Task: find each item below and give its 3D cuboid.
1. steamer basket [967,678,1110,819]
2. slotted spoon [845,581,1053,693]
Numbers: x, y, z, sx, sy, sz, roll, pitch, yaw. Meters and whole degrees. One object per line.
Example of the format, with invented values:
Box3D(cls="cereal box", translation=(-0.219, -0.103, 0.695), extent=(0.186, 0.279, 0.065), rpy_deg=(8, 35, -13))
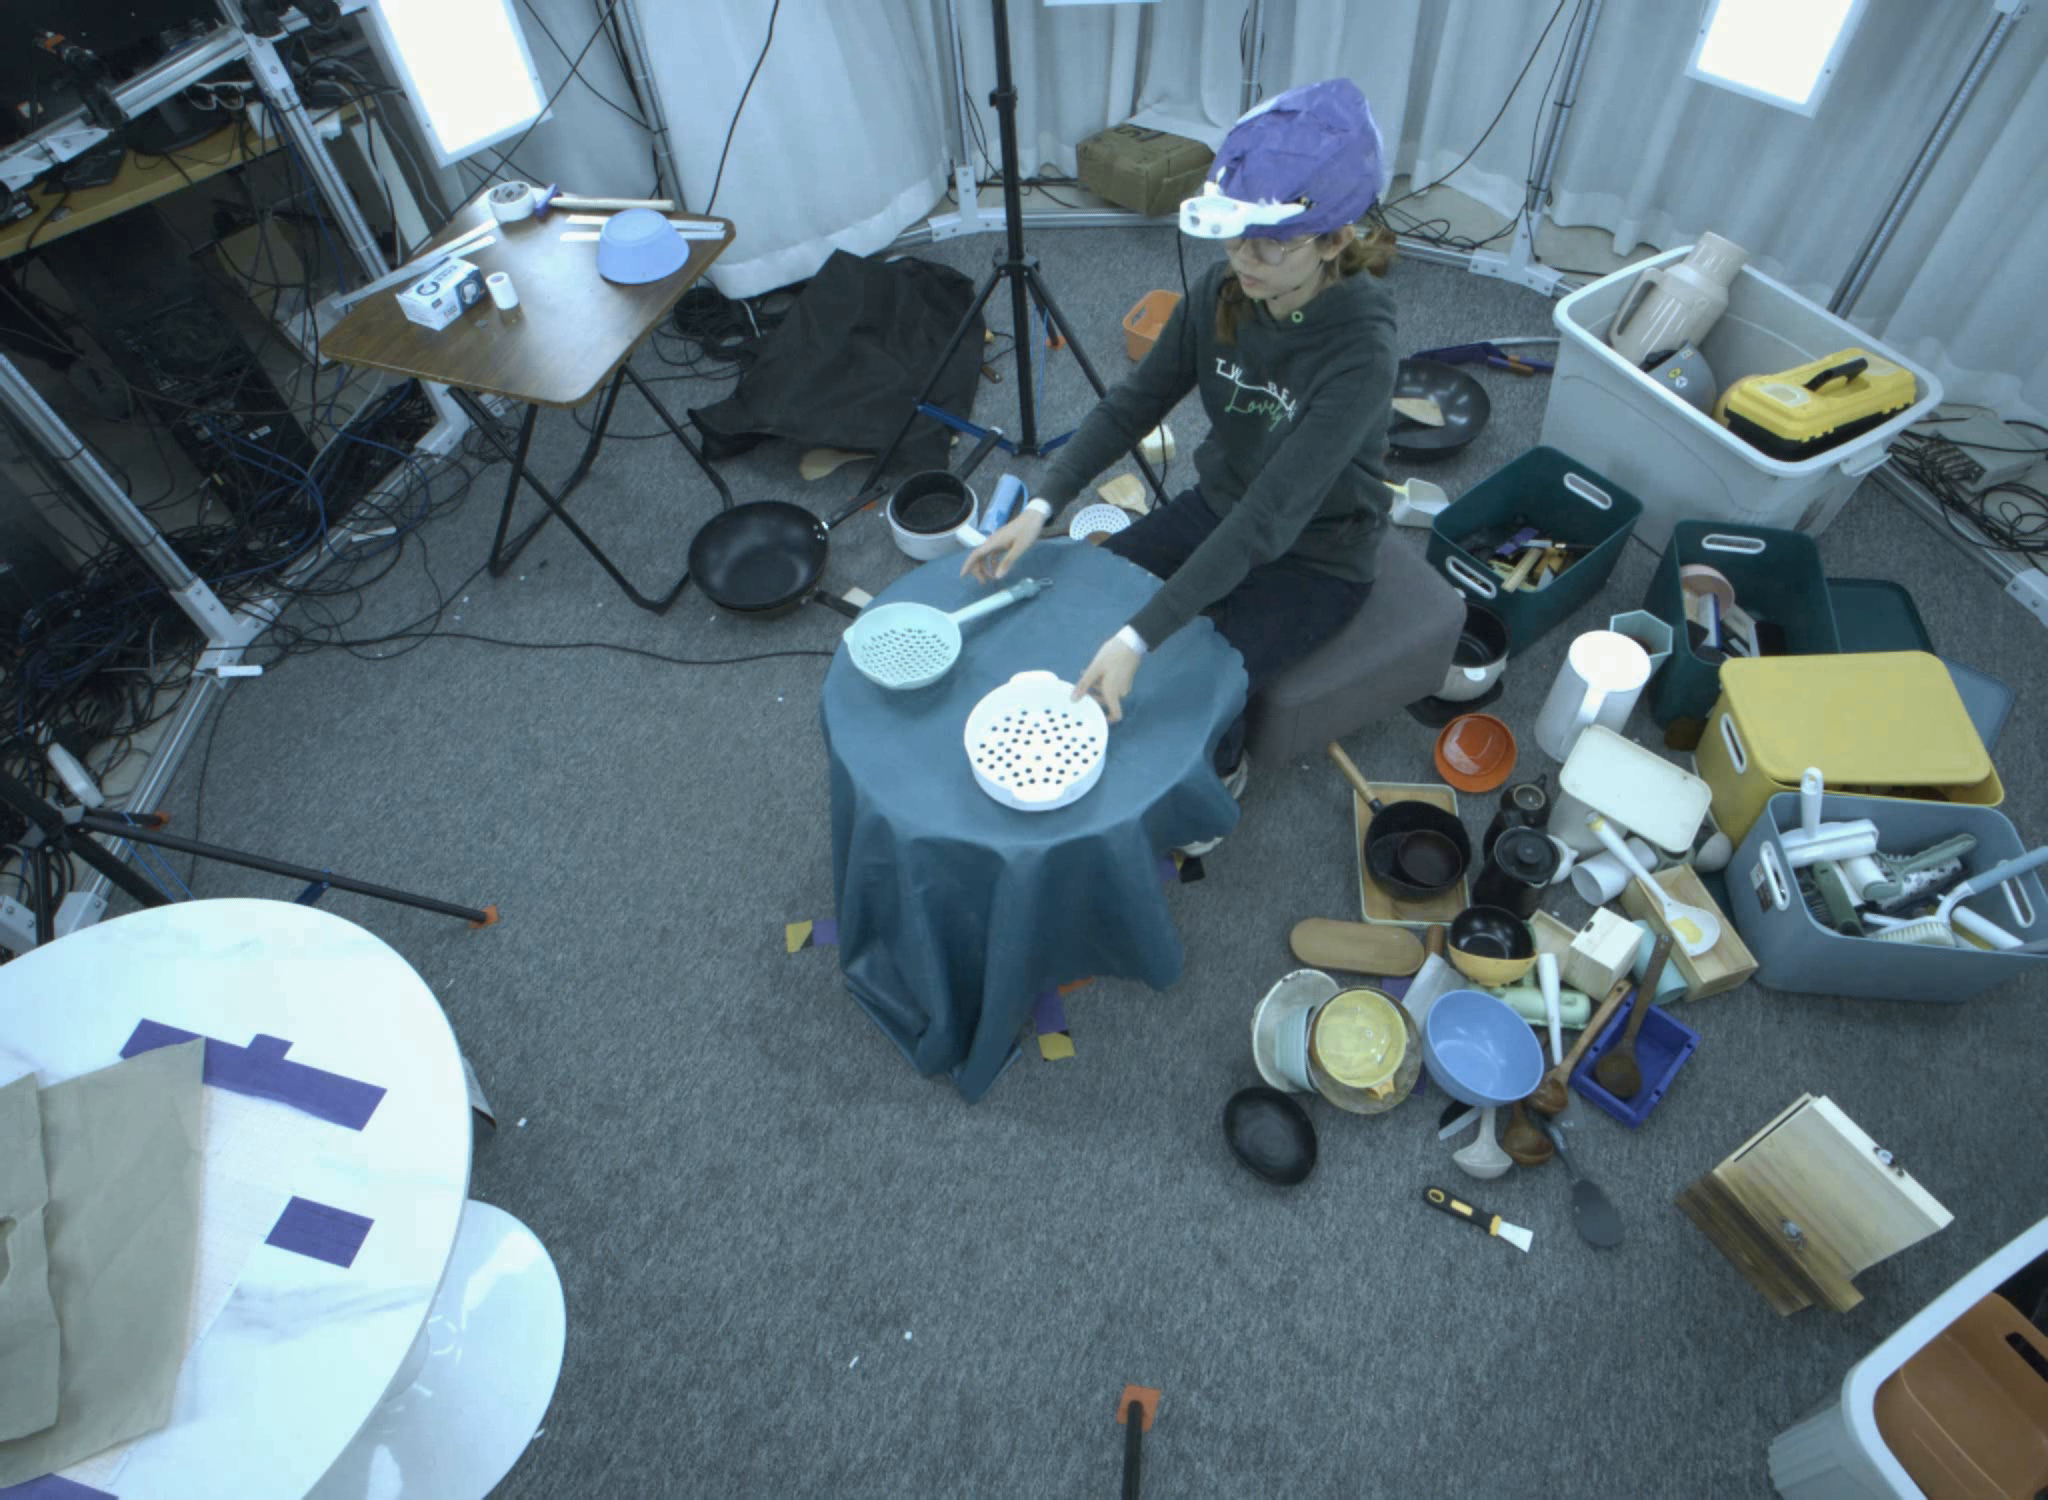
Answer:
Box3D(cls="steamer basket", translation=(0.021, 0.003, 1.756), extent=(0.202, 0.070, 0.228), rpy_deg=(-3, 54, -2))
Box3D(cls="slotted spoon", translation=(-0.102, -0.194, 1.898), extent=(0.361, 0.076, 0.166), rpy_deg=(-33, 61, -20))
